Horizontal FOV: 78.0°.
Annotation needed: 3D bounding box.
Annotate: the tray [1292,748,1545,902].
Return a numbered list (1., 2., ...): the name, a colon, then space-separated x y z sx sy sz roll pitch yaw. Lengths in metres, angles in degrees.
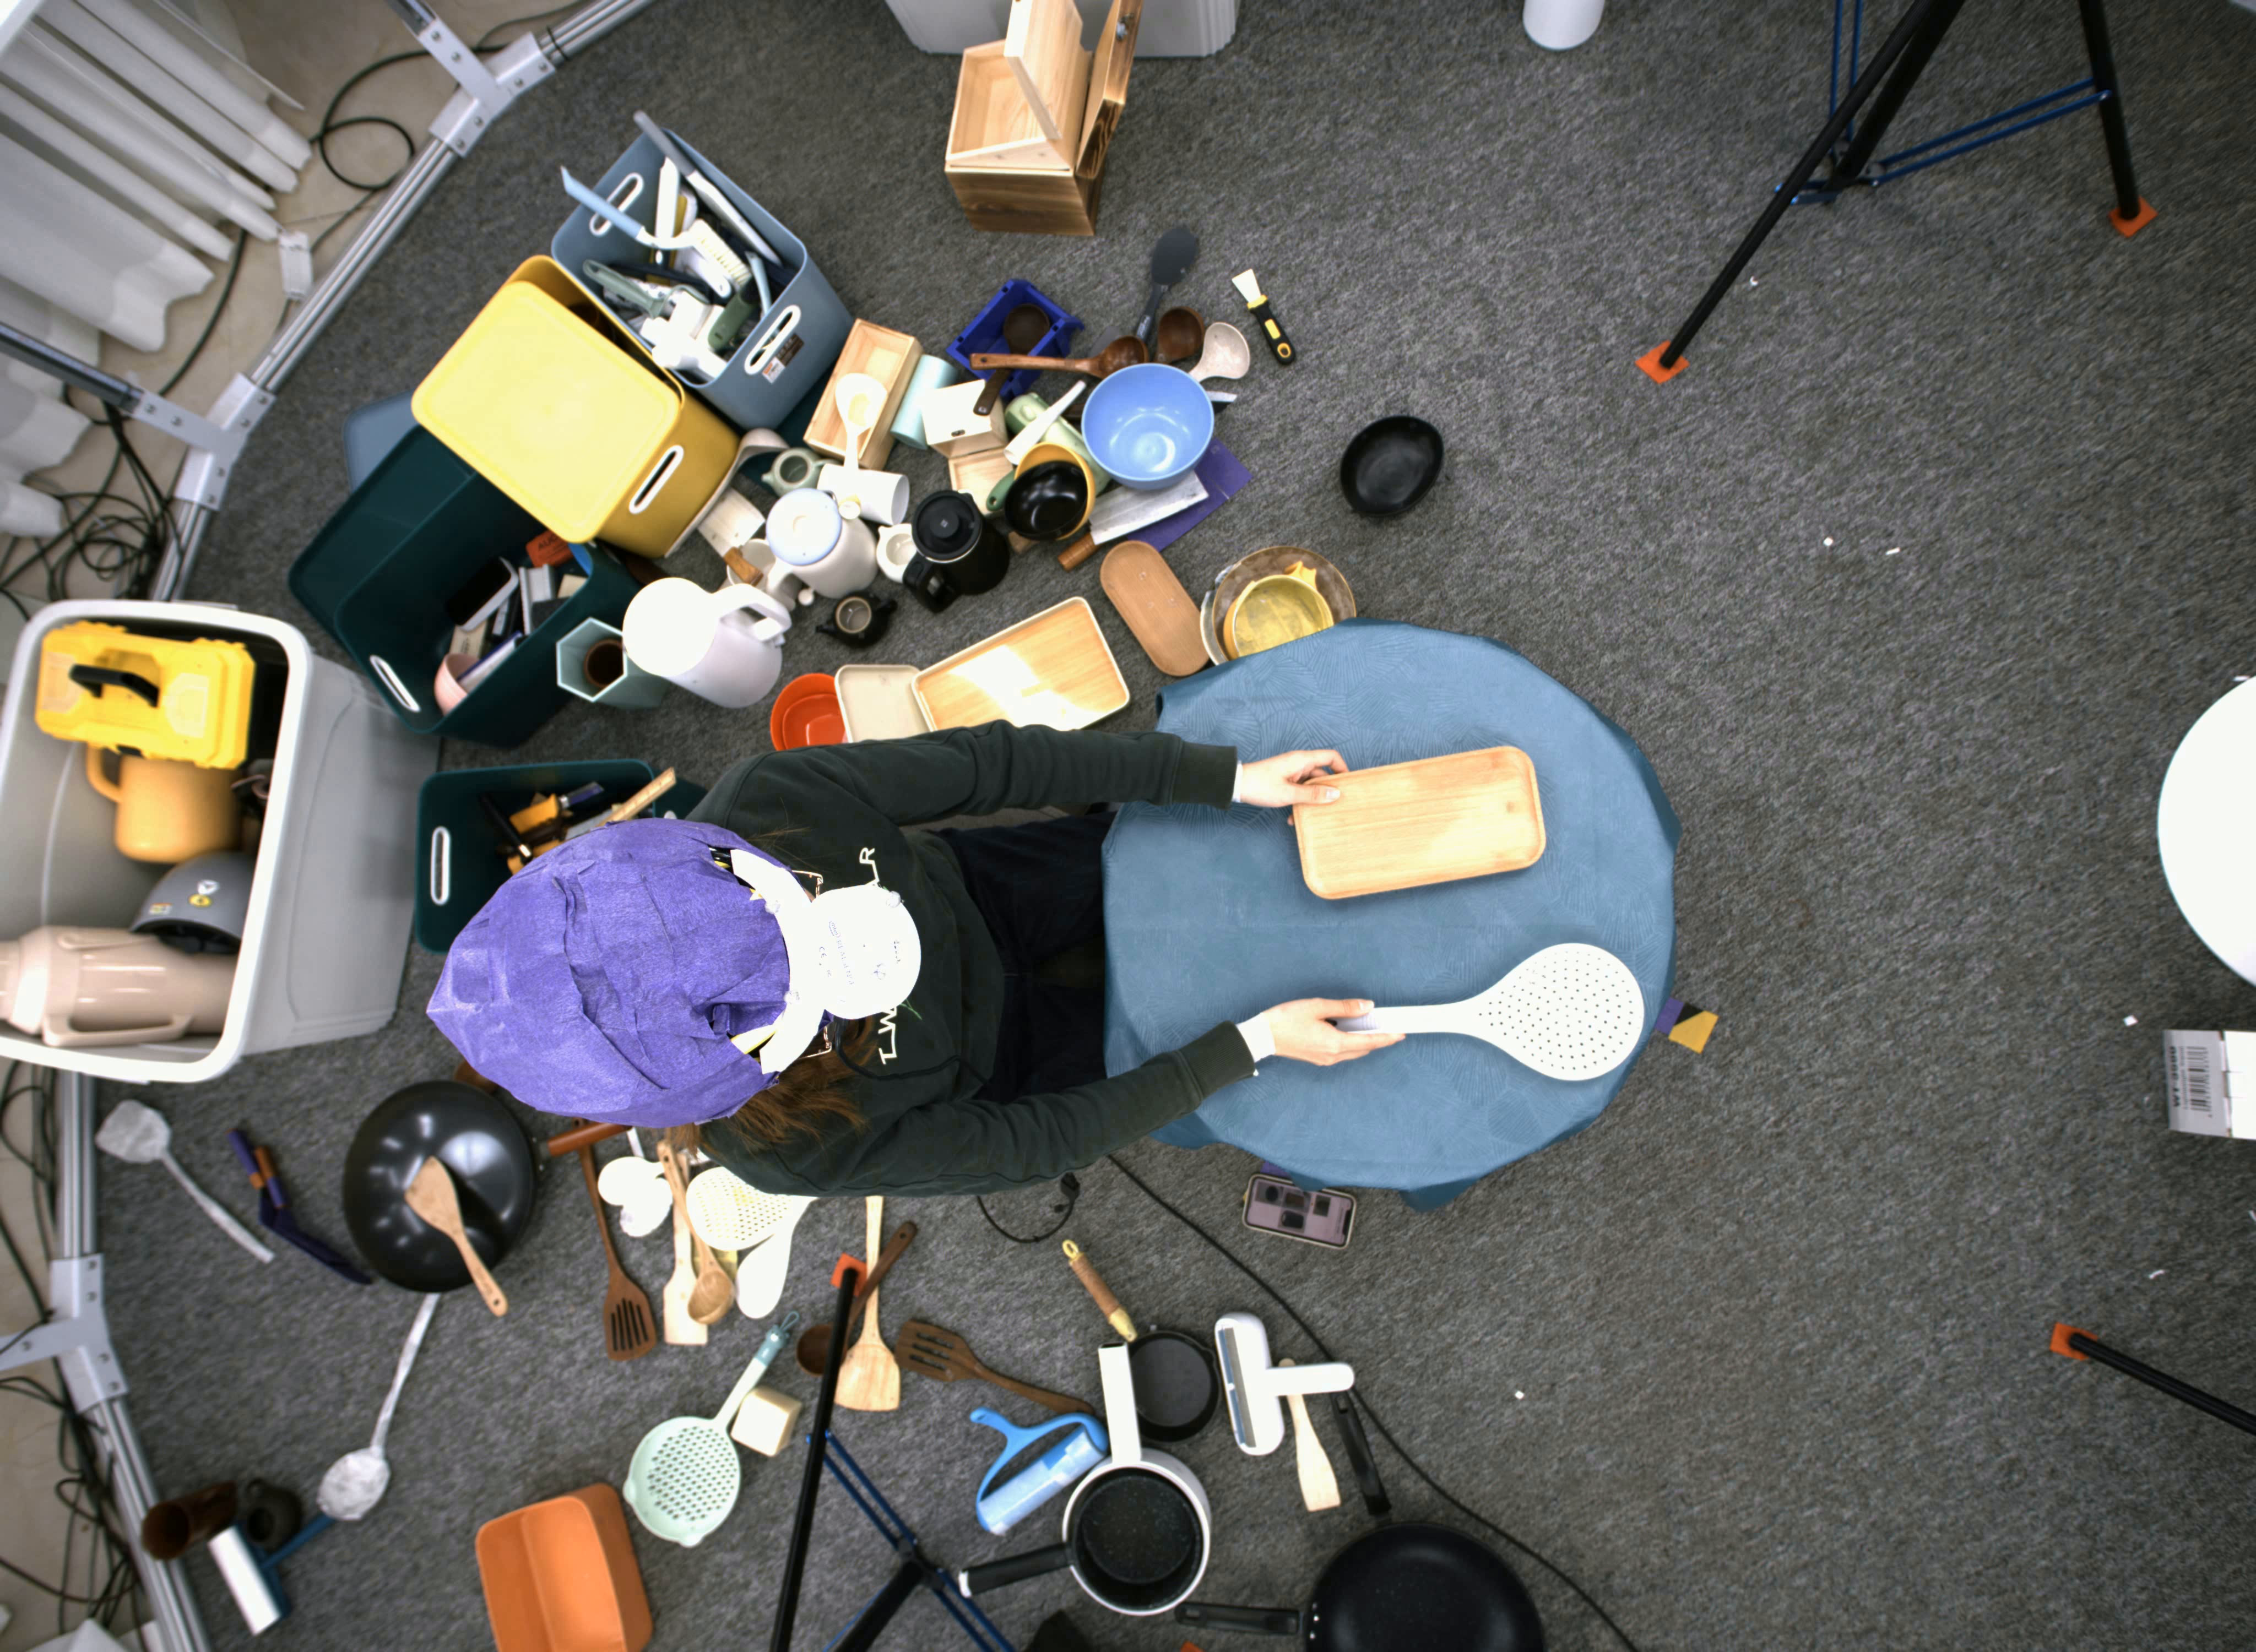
1. tray: 0.299 -0.002 1.421 0.251 0.023 0.130 -9 90 5

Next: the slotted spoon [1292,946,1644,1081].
1. slotted spoon: 0.343 0.194 1.406 0.351 0.045 0.136 -4 91 5
